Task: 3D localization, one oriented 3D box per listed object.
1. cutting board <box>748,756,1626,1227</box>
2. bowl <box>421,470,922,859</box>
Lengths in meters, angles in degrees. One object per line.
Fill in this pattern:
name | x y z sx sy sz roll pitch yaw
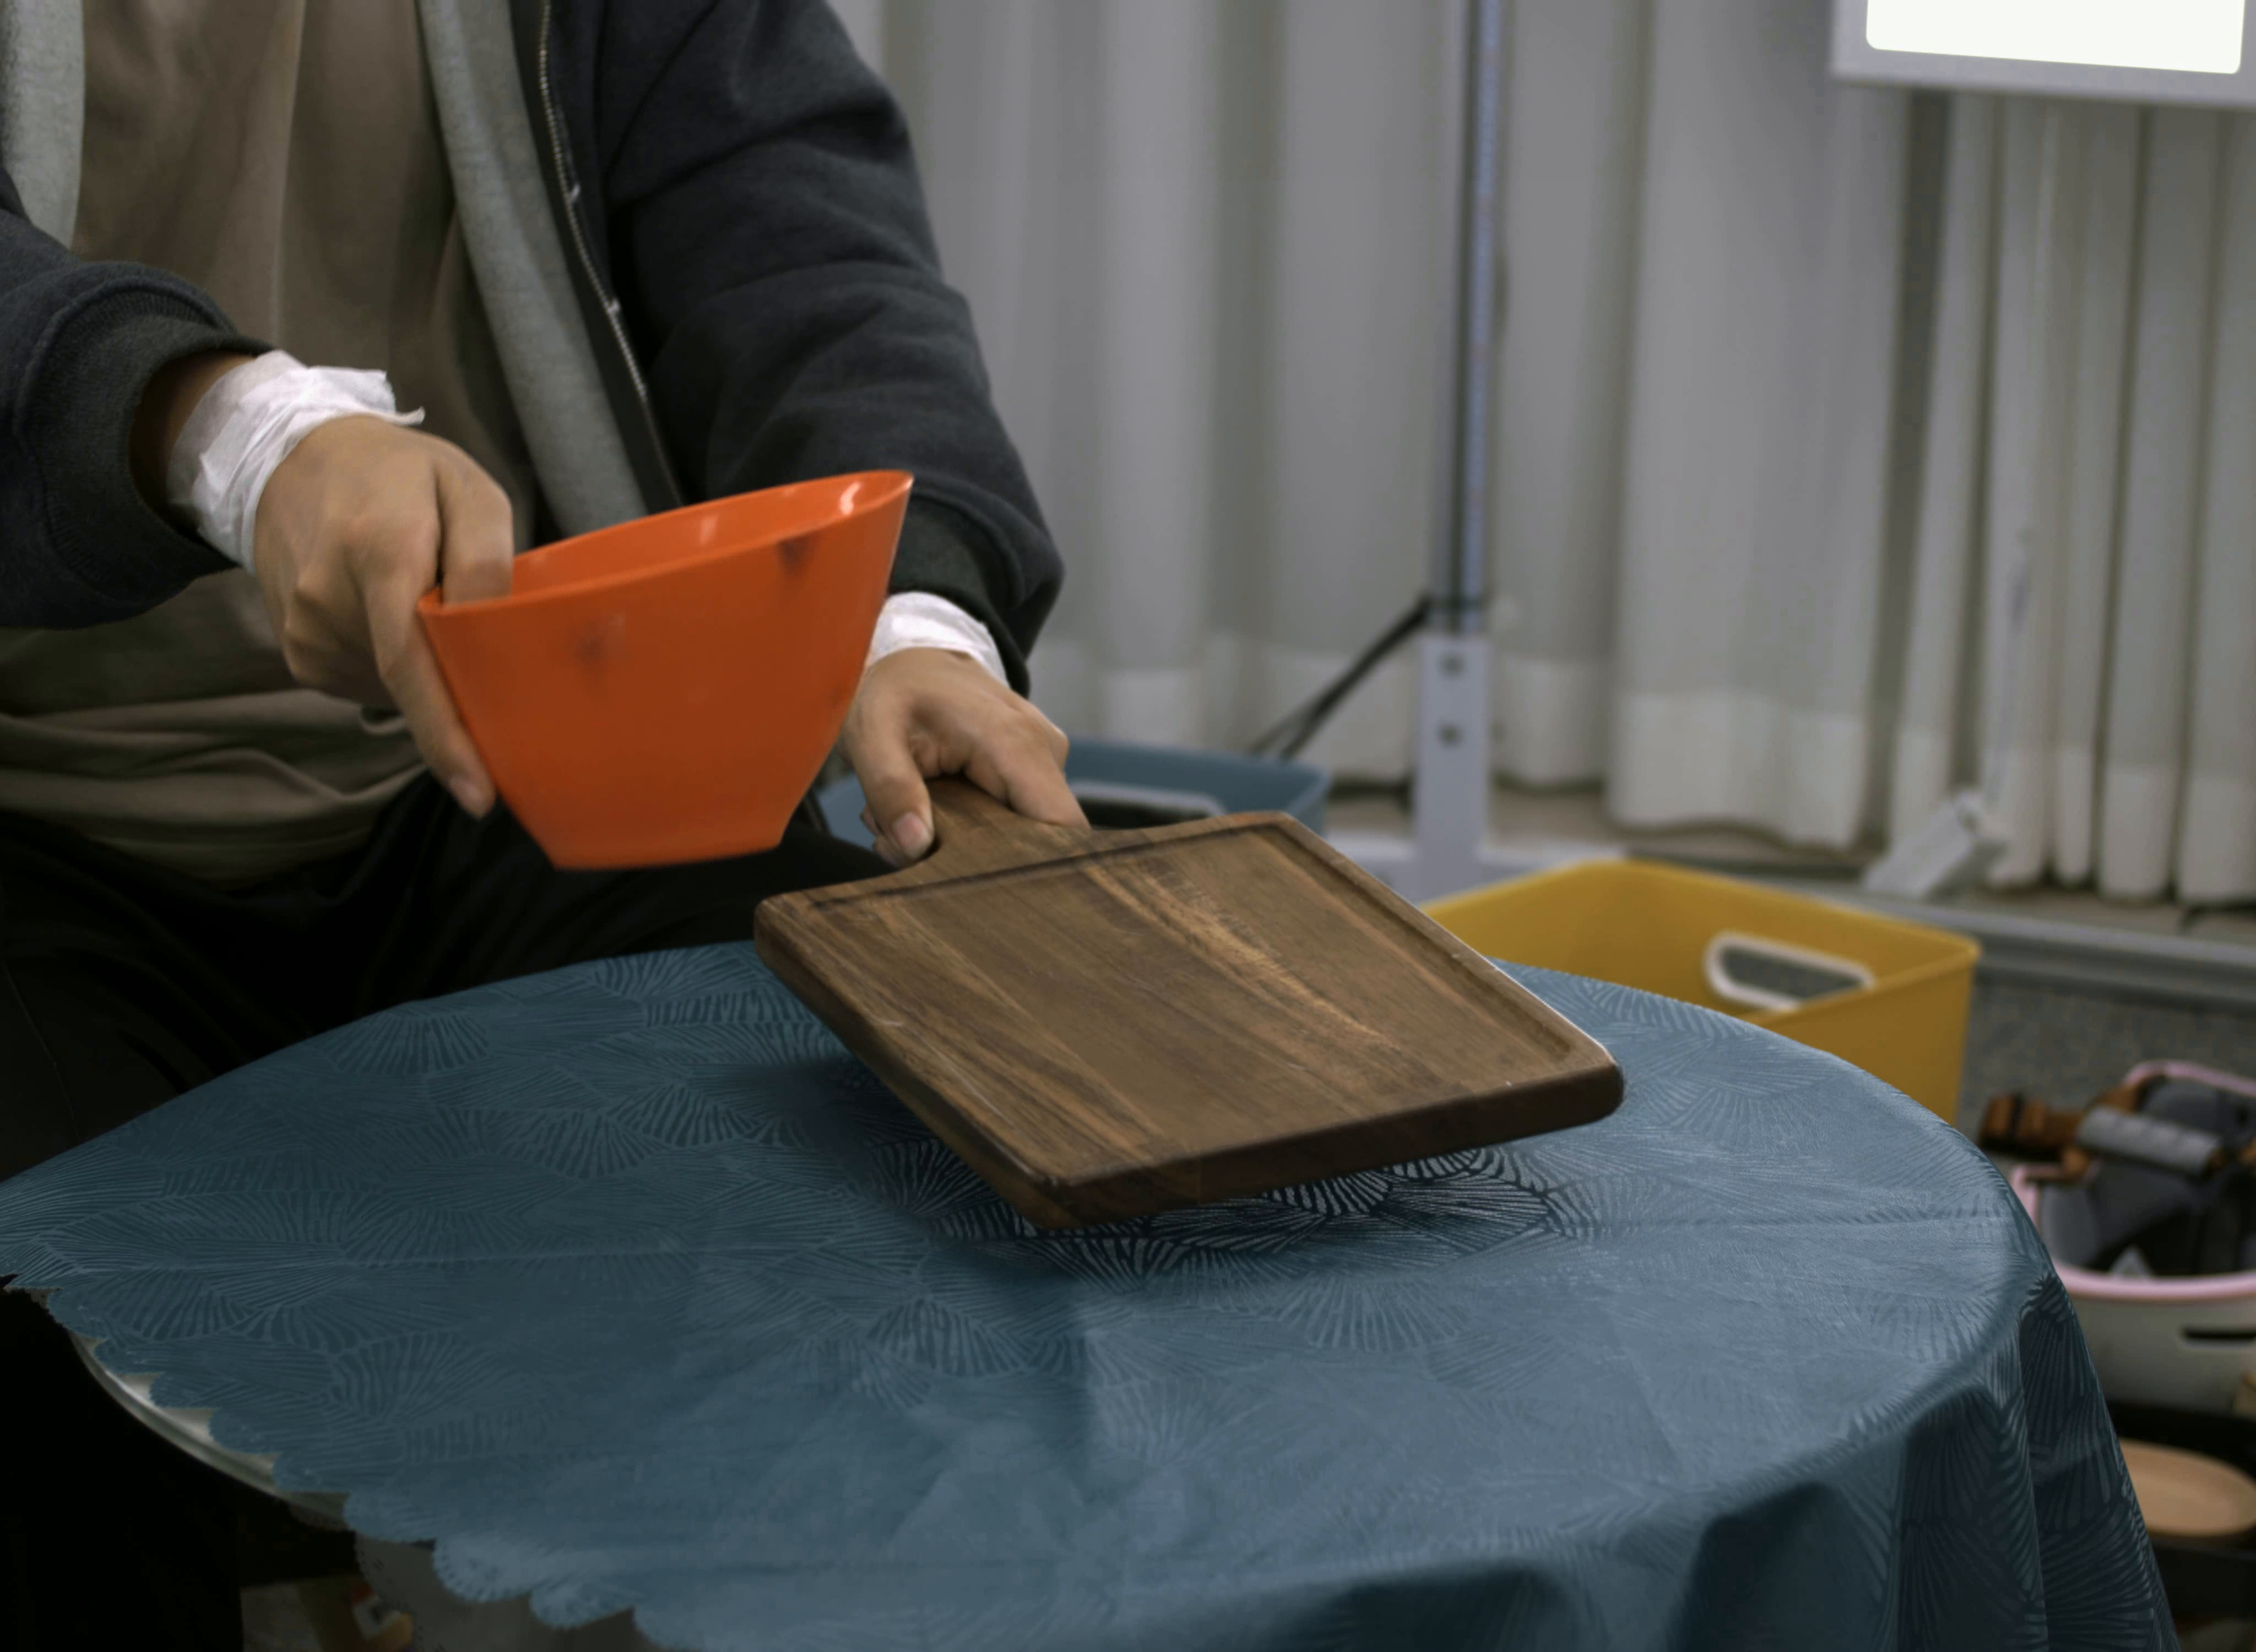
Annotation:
cutting board | -0.006 0.040 1.709 0.201 0.023 0.347 -10 22 -23
bowl | -0.128 -0.046 1.528 0.147 0.105 0.148 -4 5 1
